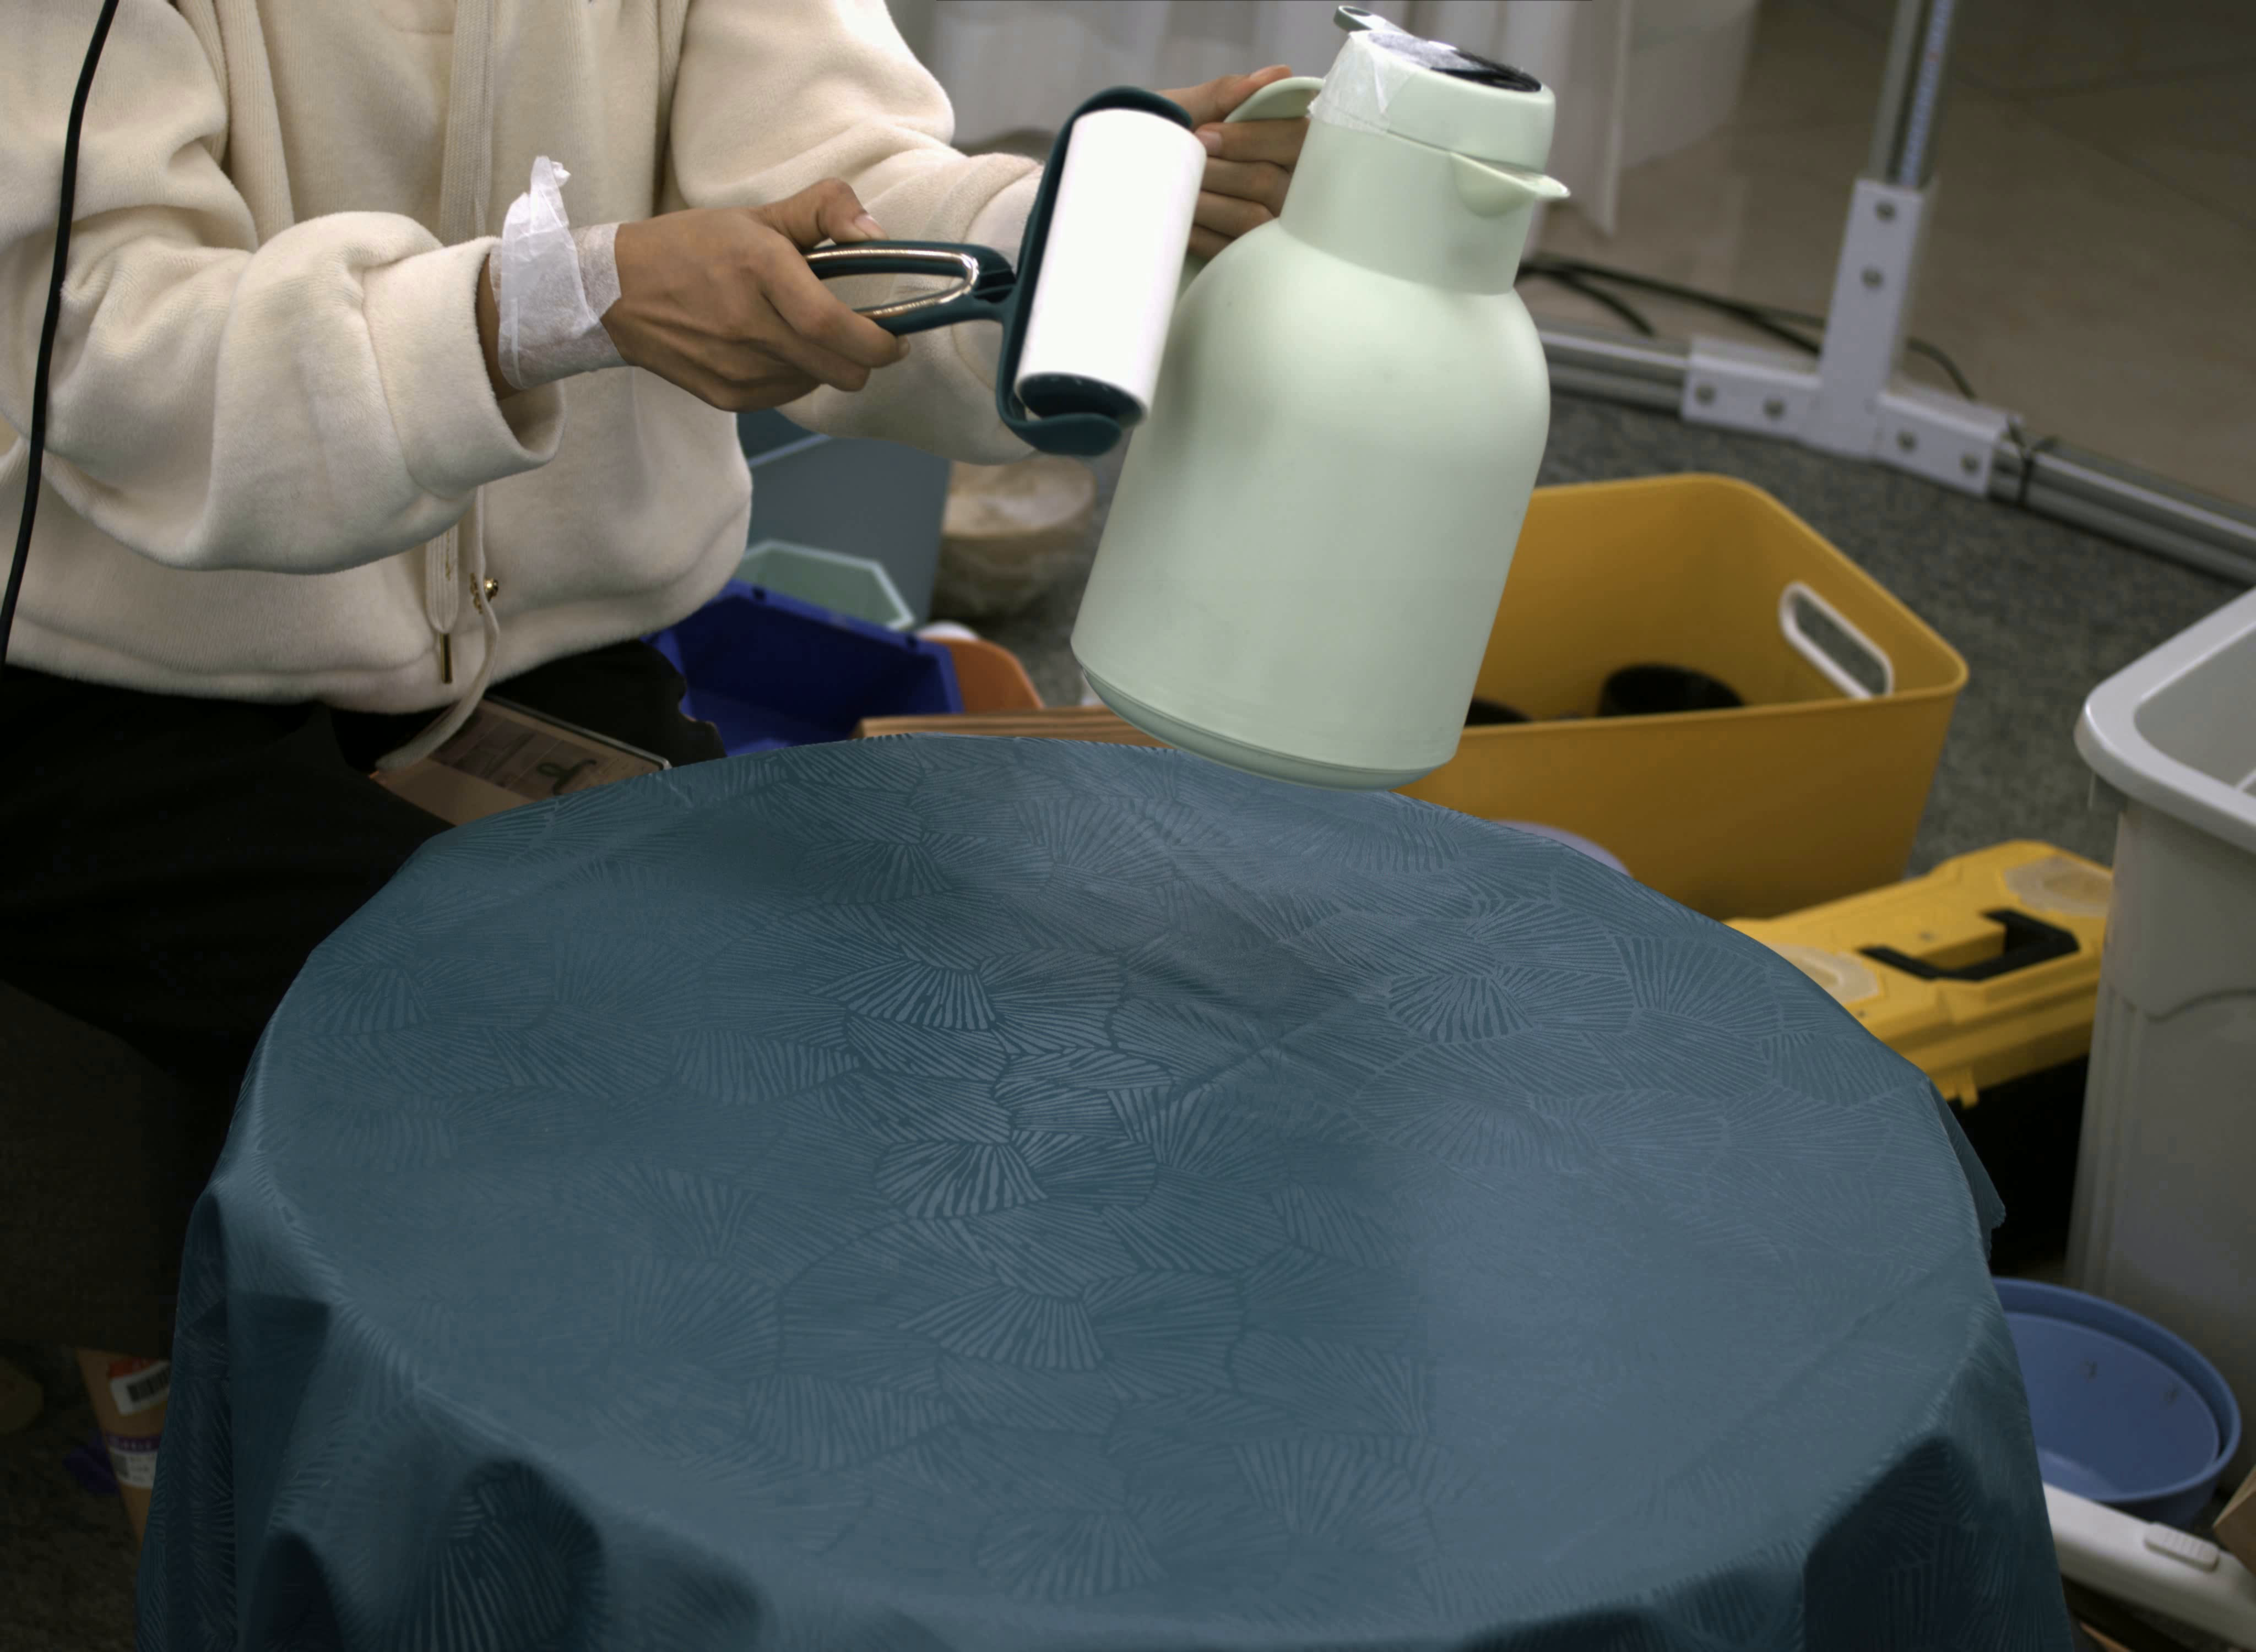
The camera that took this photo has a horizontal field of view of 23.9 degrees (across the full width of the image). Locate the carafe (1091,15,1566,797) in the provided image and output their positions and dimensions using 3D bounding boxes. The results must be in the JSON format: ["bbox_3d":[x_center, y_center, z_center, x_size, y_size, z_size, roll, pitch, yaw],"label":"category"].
[{"bbox_3d":[0.074,-0.154,1.895,0.143,0.256,0.188,2,18,-35],"label":"carafe"}]

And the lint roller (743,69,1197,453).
[{"bbox_3d":[-0.067,-0.193,1.843,0.181,0.135,0.048,2,-22,29],"label":"lint roller"}]
